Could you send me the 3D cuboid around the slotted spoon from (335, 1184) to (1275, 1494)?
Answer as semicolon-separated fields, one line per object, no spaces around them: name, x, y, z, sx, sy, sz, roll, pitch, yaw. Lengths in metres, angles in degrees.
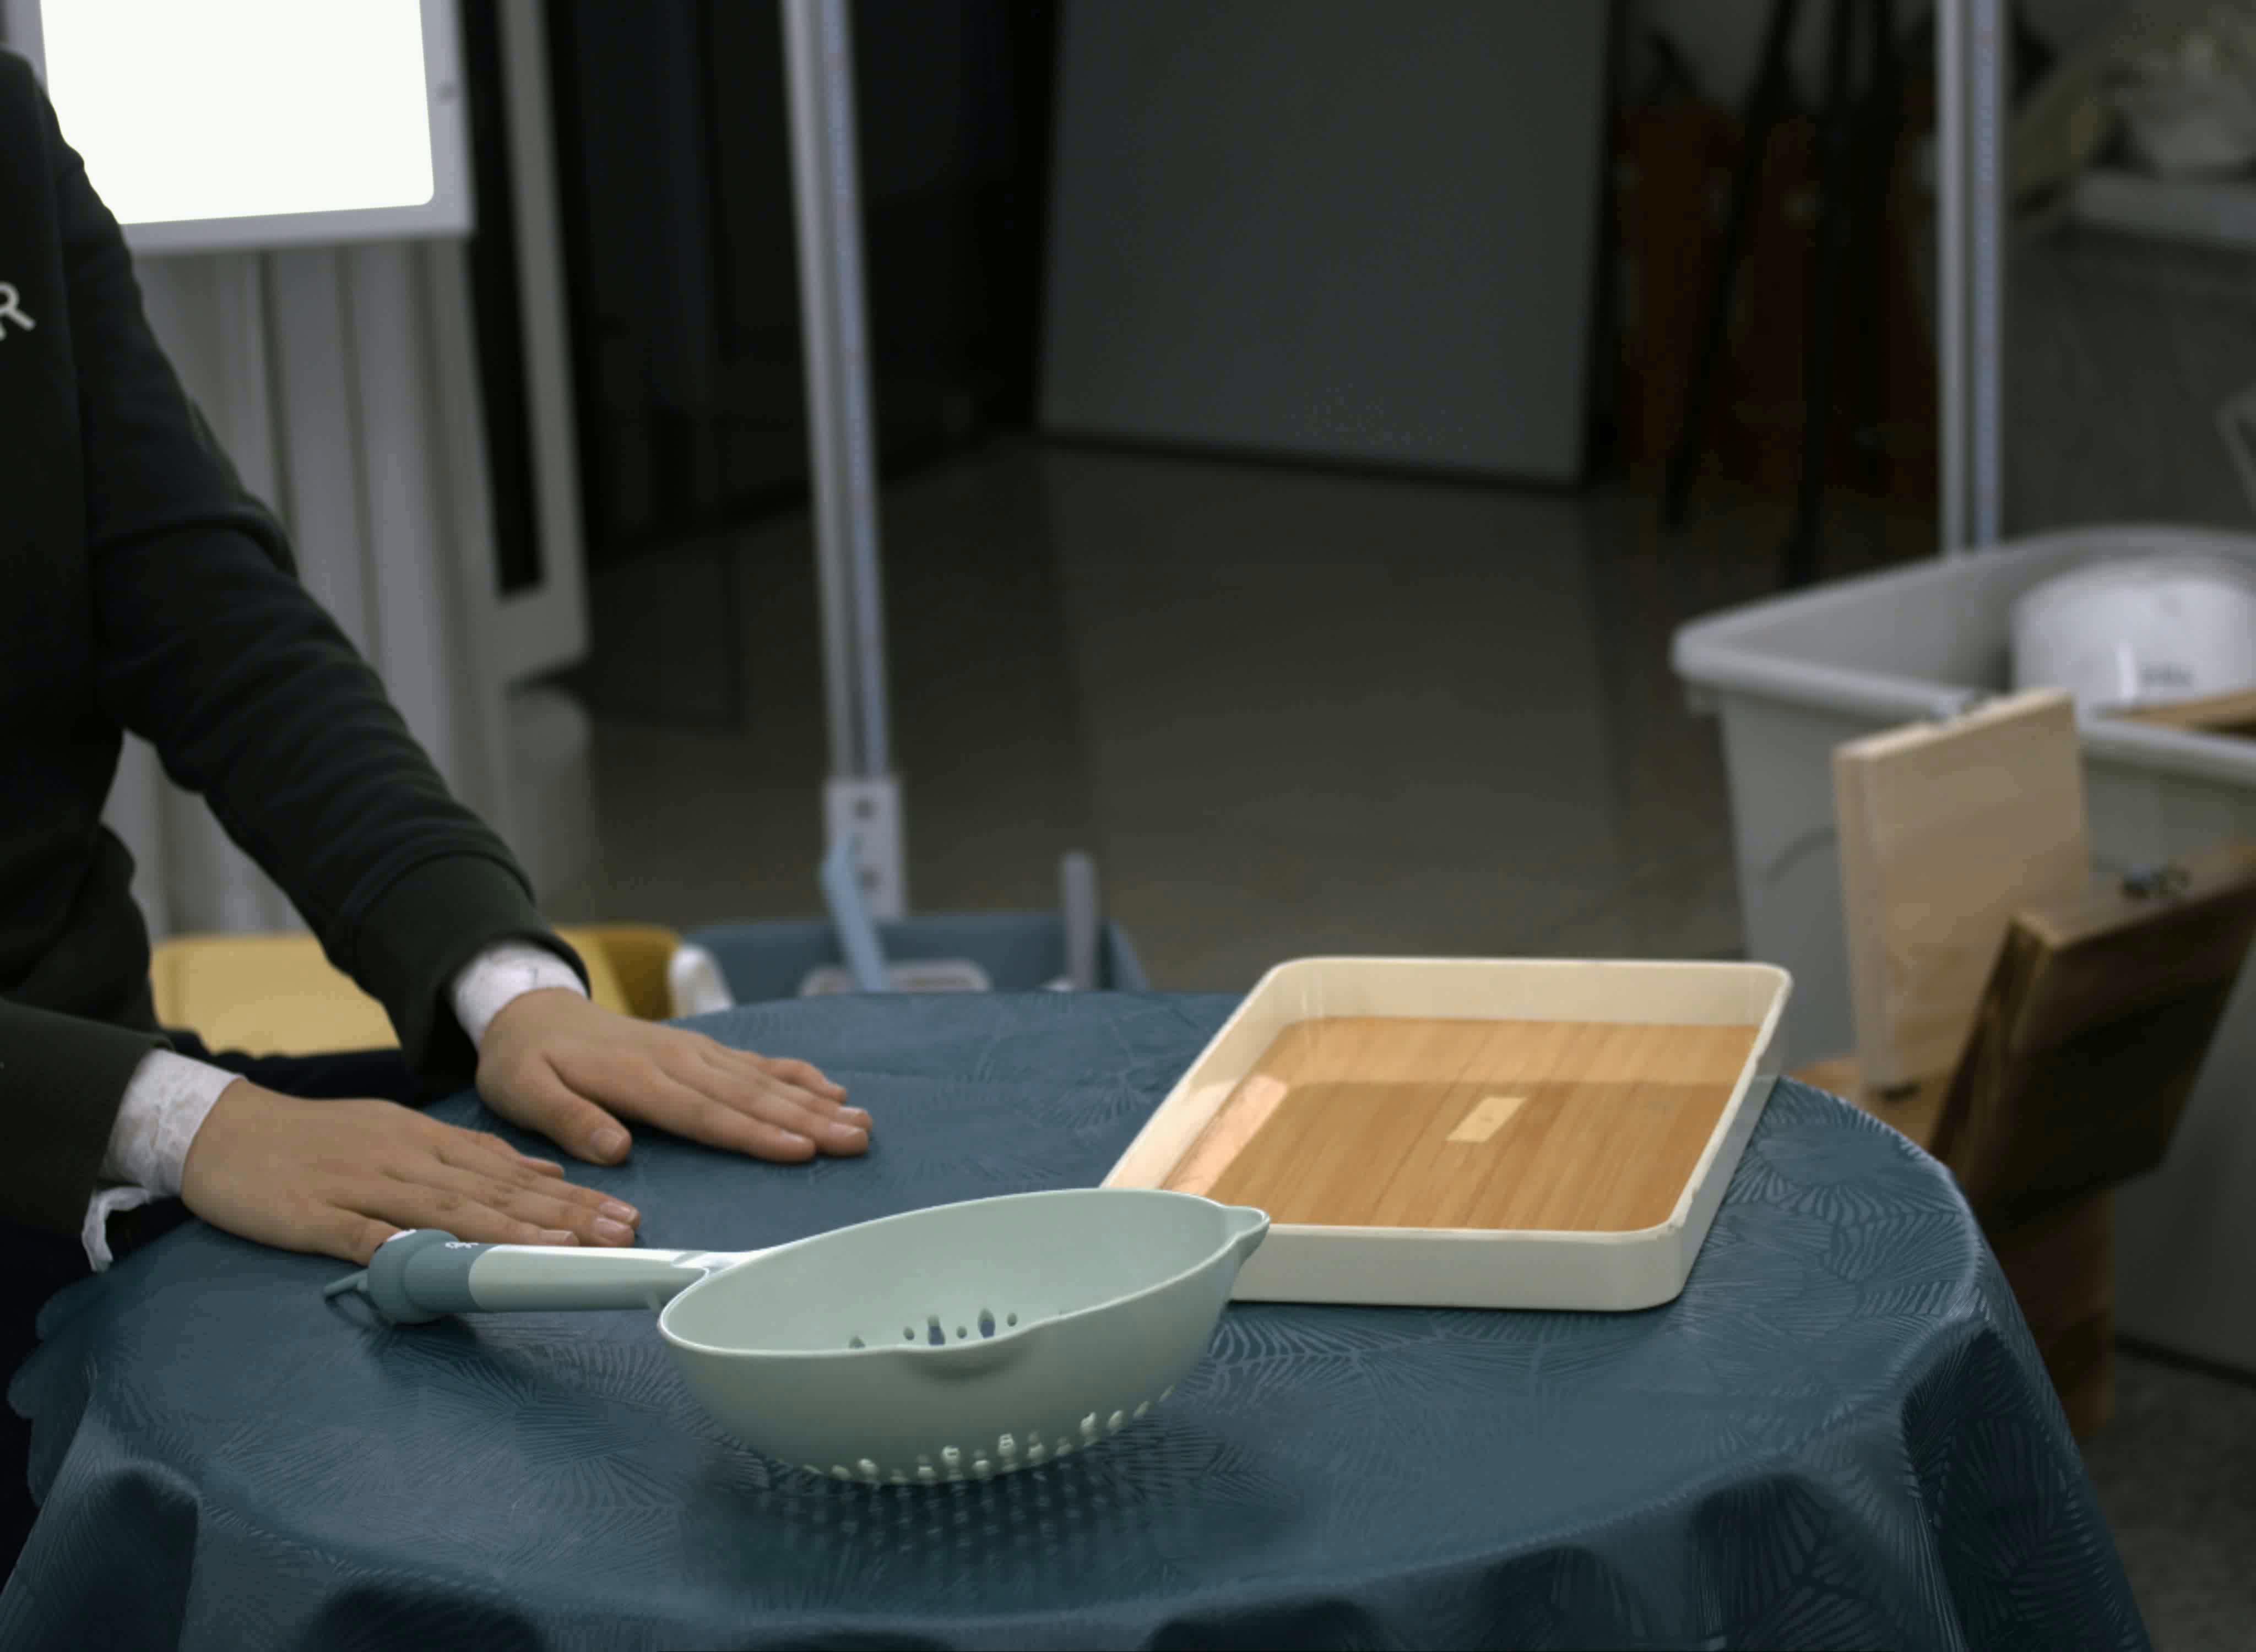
slotted spoon;-0.118;0.140;1.595;0.362;0.076;0.166;8;18;42

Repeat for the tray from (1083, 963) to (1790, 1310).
tray;0.109;0.098;1.777;0.191;0.028;0.298;0;14;15
